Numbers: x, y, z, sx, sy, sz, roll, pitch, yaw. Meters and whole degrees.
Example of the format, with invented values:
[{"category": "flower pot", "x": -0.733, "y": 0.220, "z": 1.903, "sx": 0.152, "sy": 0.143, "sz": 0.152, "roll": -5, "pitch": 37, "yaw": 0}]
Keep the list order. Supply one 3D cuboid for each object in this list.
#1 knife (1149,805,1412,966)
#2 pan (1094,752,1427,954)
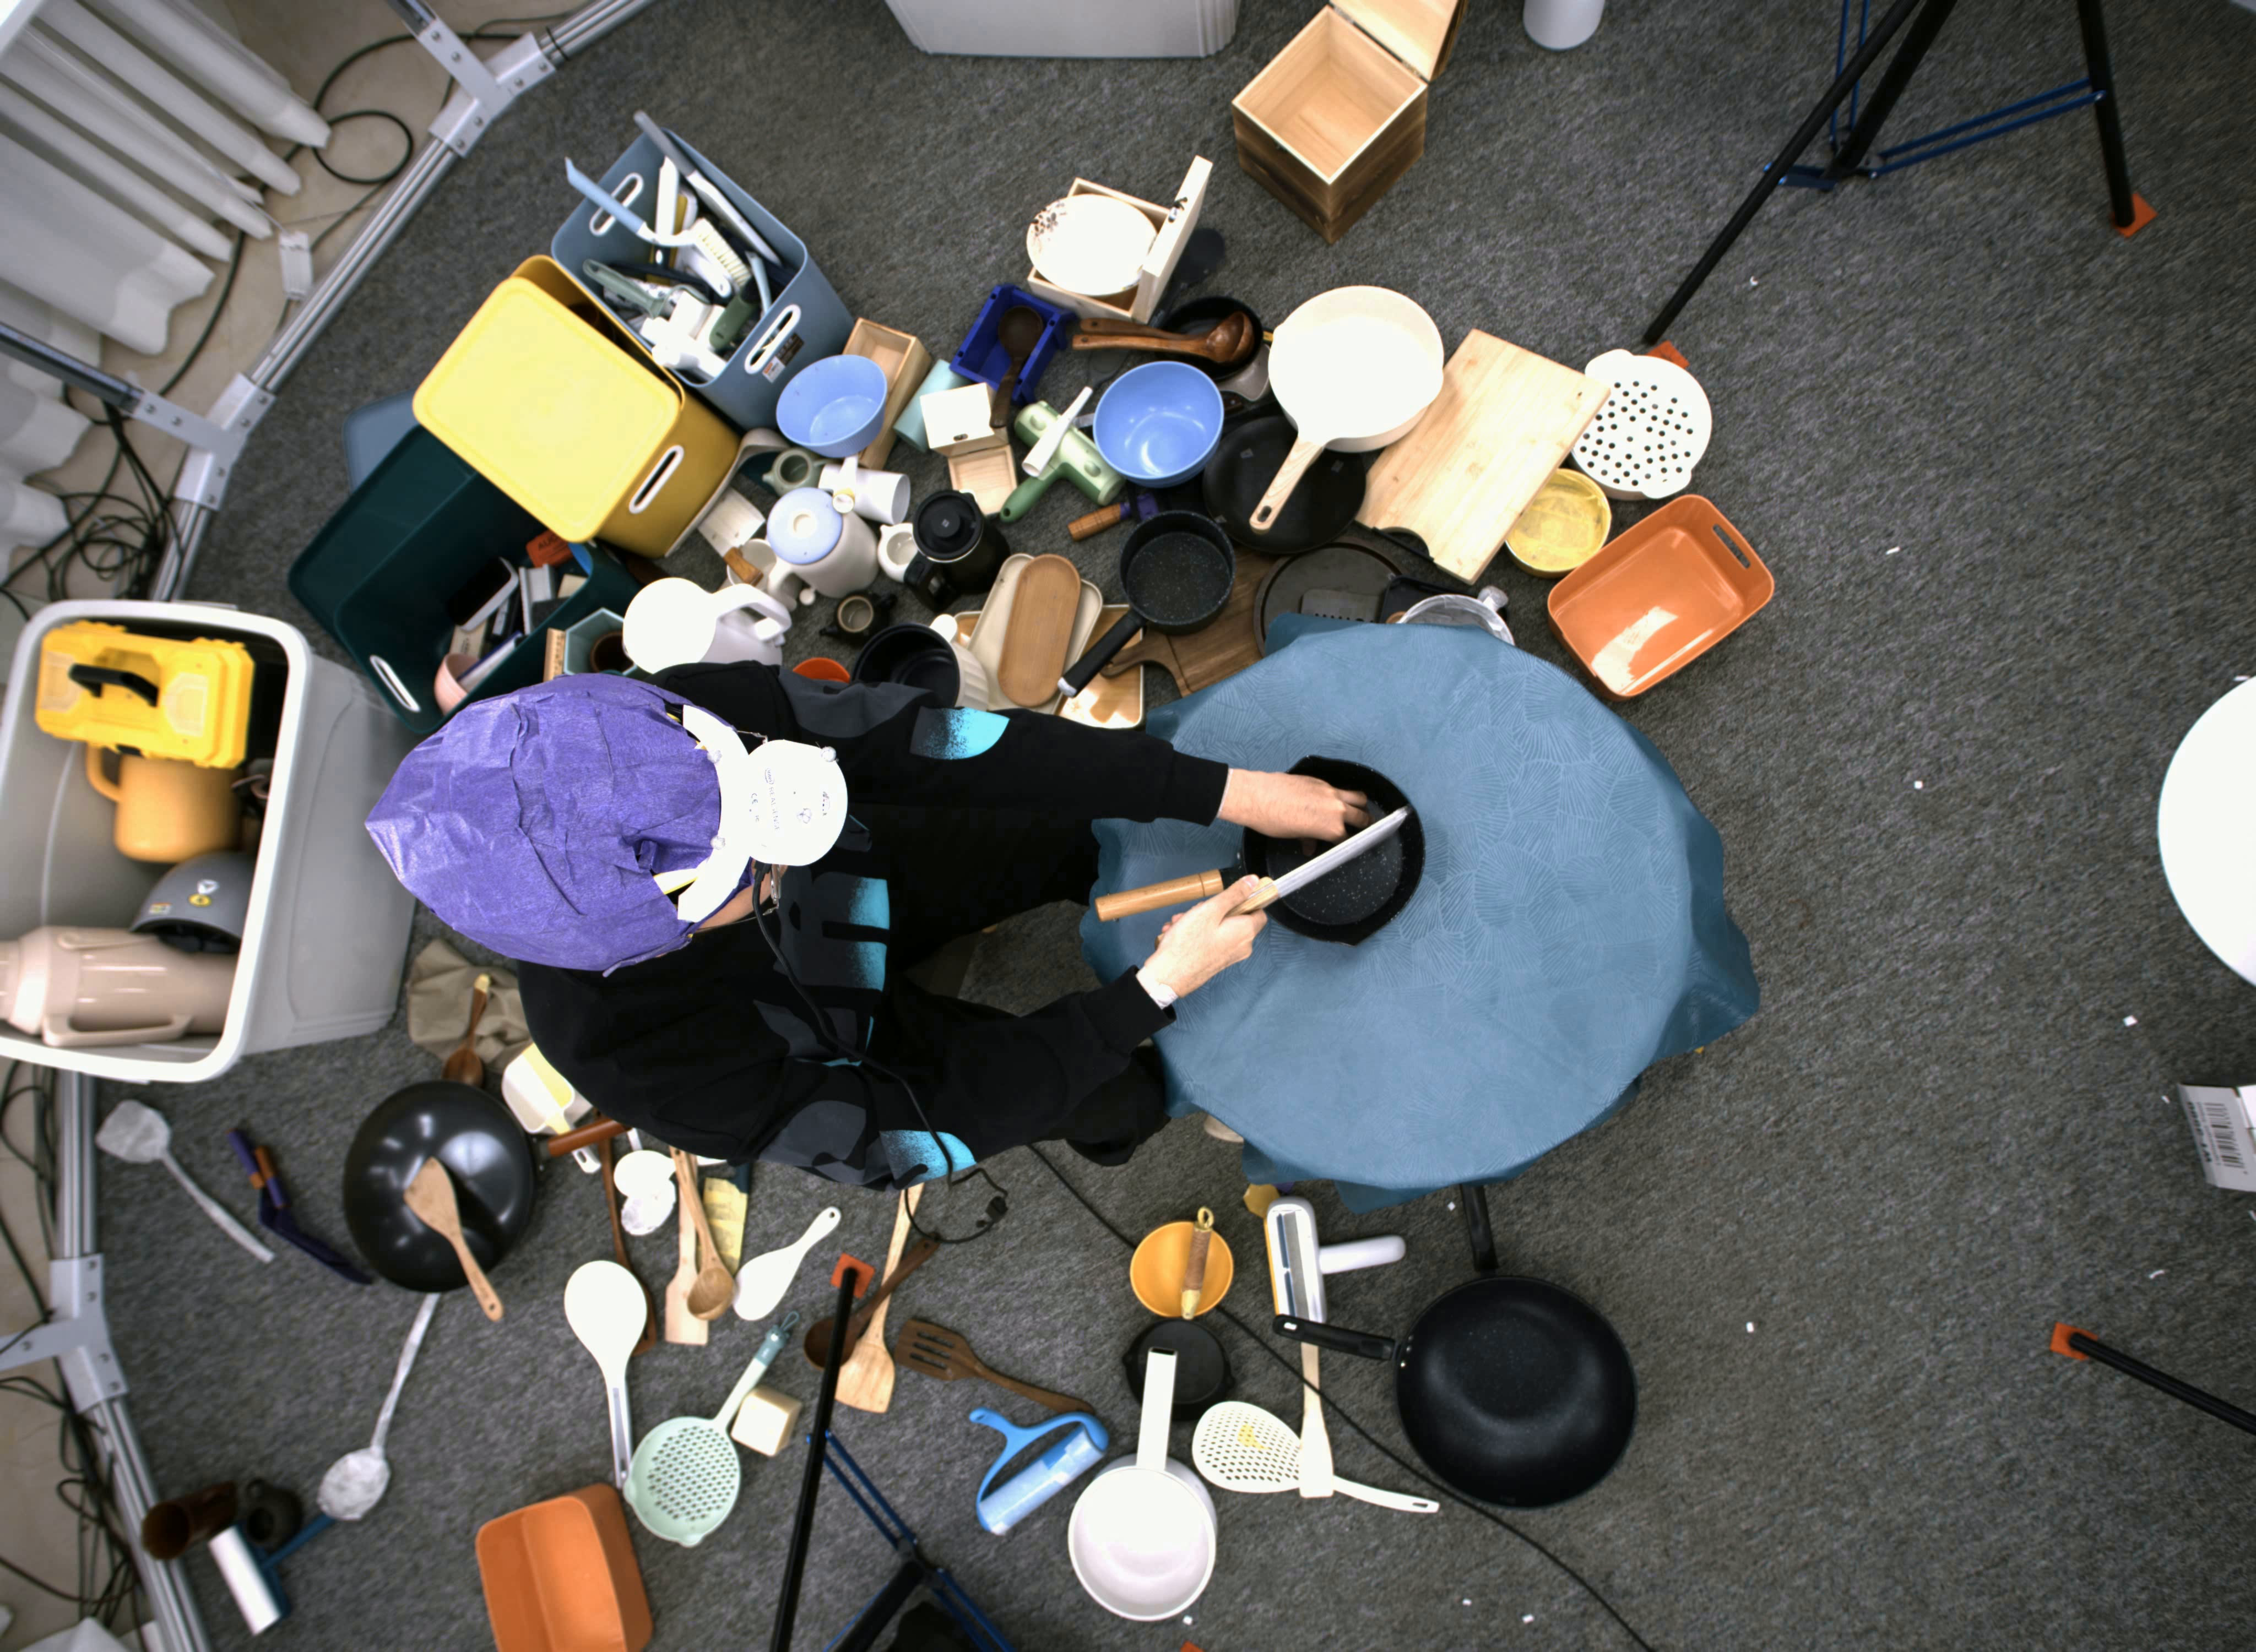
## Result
[{"category": "knife", "x": 0.154, "y": 0.056, "z": 1.352, "sx": 0.312, "sy": 0.116, "sz": 0.021, "roll": -26, "pitch": 73, "yaw": -20}, {"category": "pan", "x": 0.136, "y": 0.049, "z": 1.431, "sx": 0.344, "sy": 0.108, "sz": 0.206, "roll": -17, "pitch": 85, "yaw": 8}]
